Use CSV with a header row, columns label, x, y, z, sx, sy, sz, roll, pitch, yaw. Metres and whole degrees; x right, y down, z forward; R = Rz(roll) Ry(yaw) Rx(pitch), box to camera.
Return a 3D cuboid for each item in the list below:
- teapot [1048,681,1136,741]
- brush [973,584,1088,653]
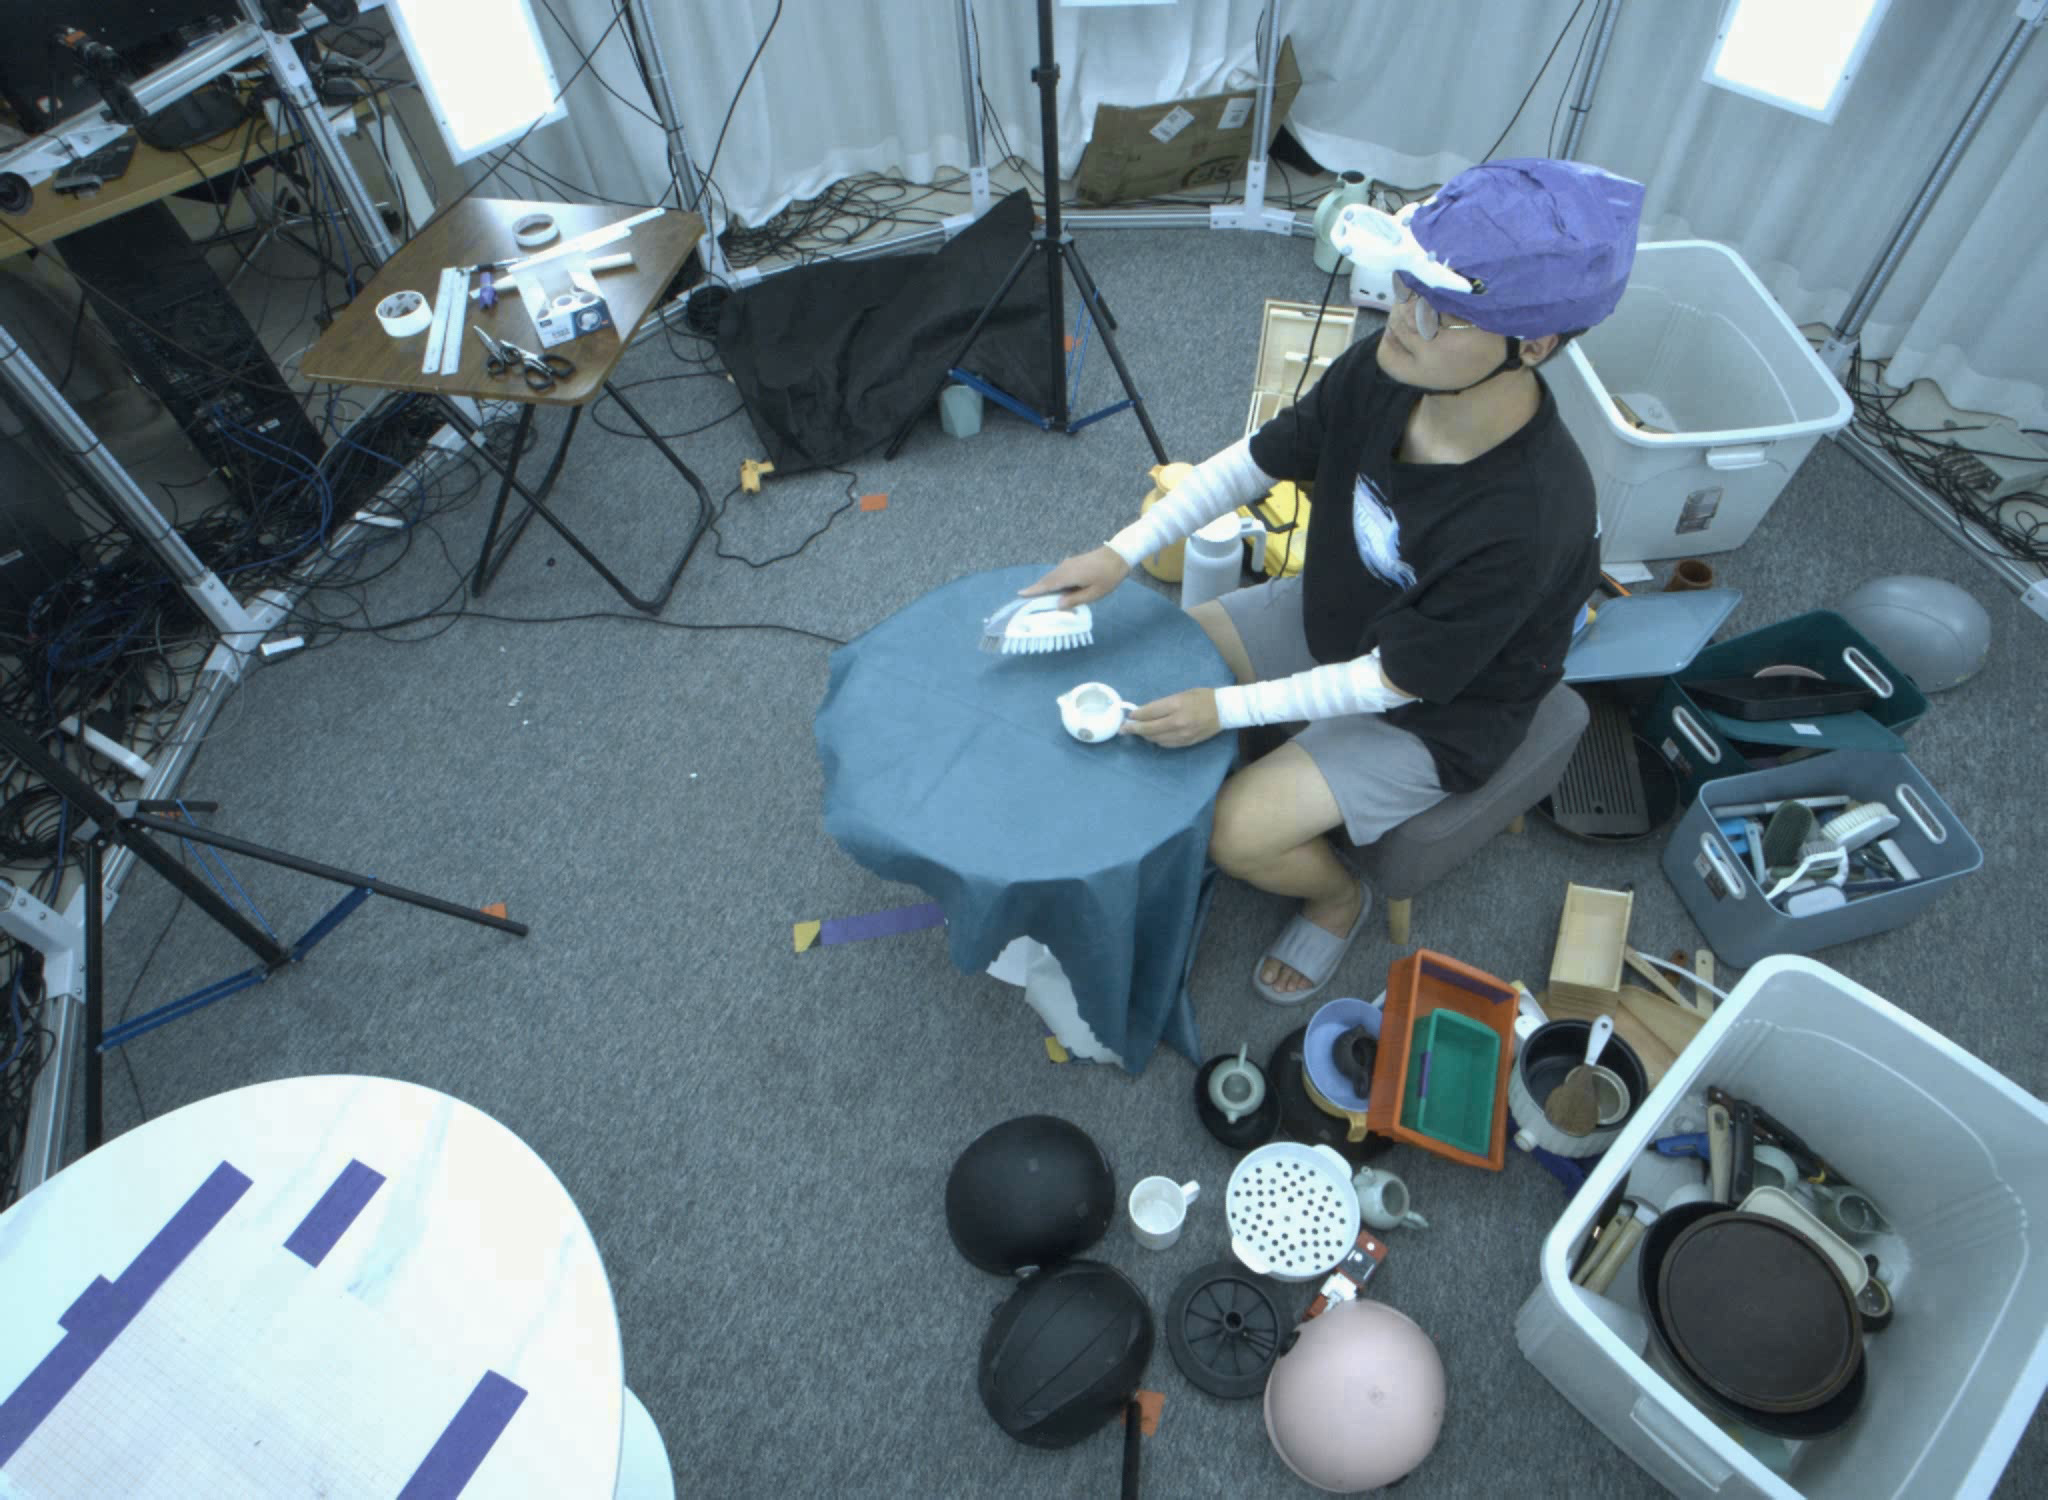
label,x,y,z,sx,sy,sz,roll,pitch,yaw
teapot,0.099,-0.056,1.781,0.127,0.057,0.093,4,51,4
brush,0.007,-0.197,1.832,0.177,0.095,0.060,-10,32,-14
